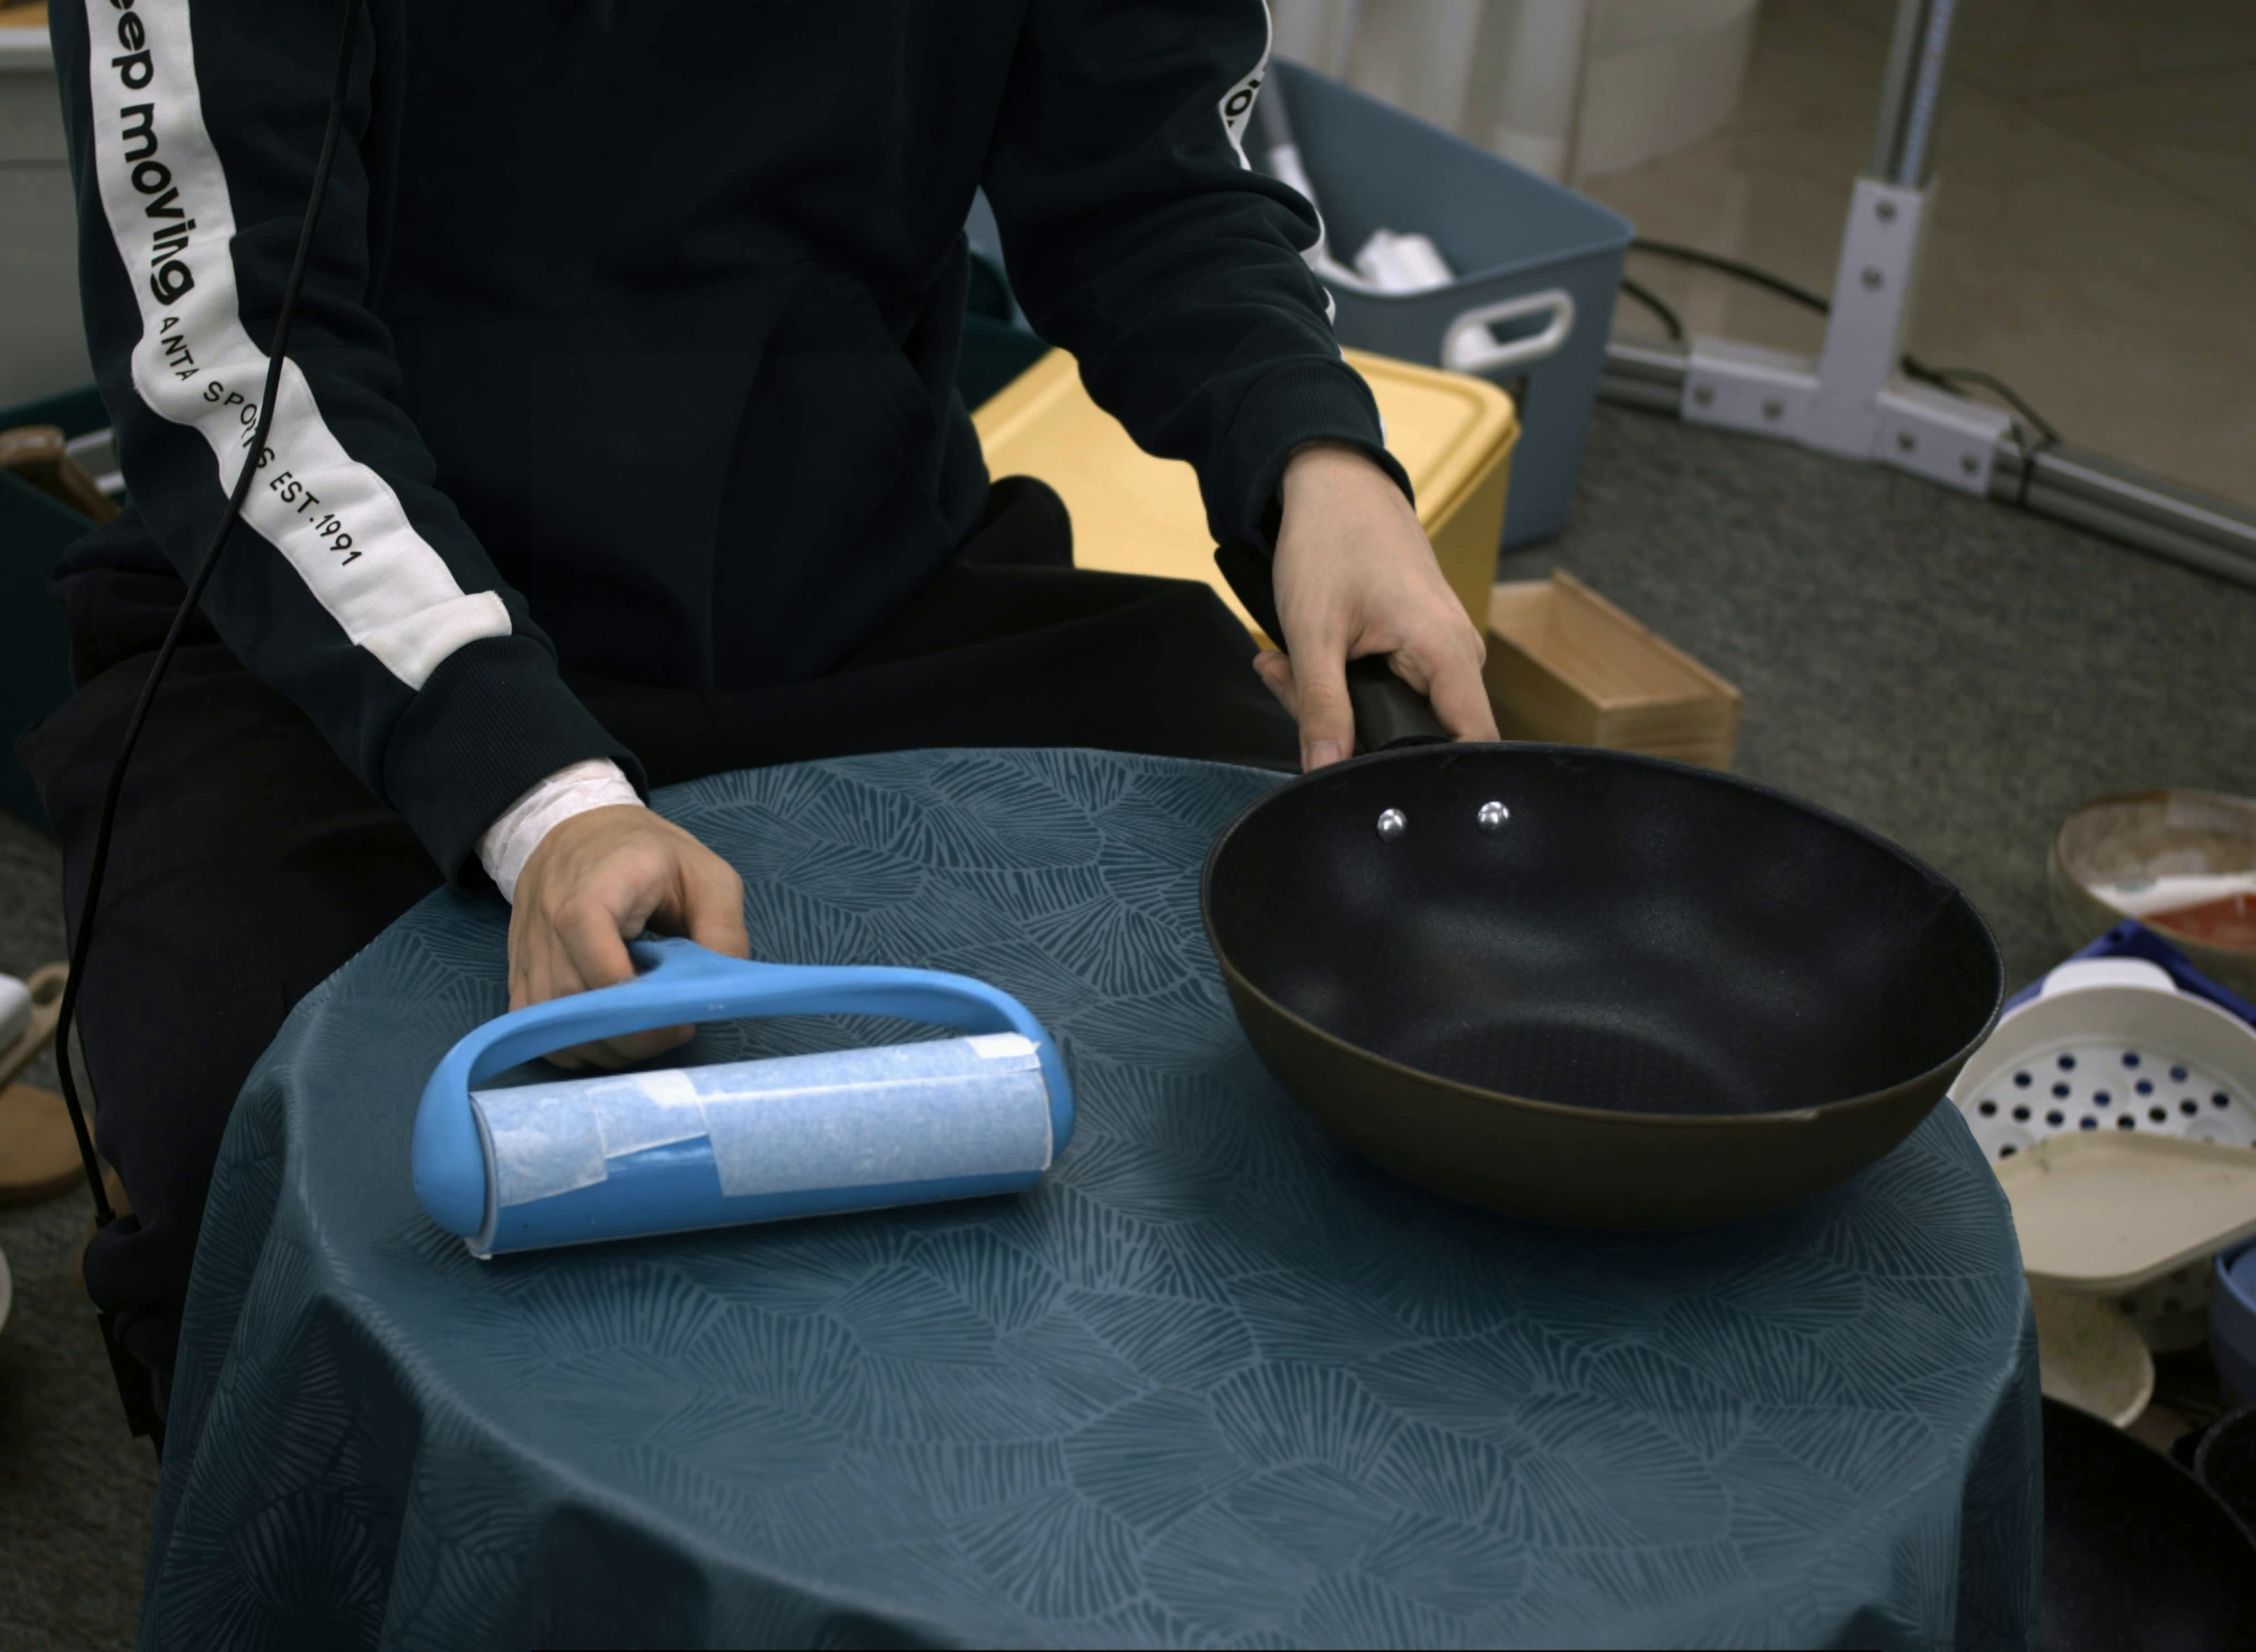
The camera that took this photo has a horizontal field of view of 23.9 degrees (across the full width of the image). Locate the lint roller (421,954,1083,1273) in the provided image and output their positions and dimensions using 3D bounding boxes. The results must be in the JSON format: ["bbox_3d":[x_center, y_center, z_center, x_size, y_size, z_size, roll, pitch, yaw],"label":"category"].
[{"bbox_3d":[-0.147,0.078,1.794,0.227,0.067,0.182,-9,32,-24],"label":"lint roller"}]

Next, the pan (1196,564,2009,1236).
[{"bbox_3d":[0.126,0.029,1.926,0.286,0.086,0.467,-4,27,-21],"label":"pan"}]
